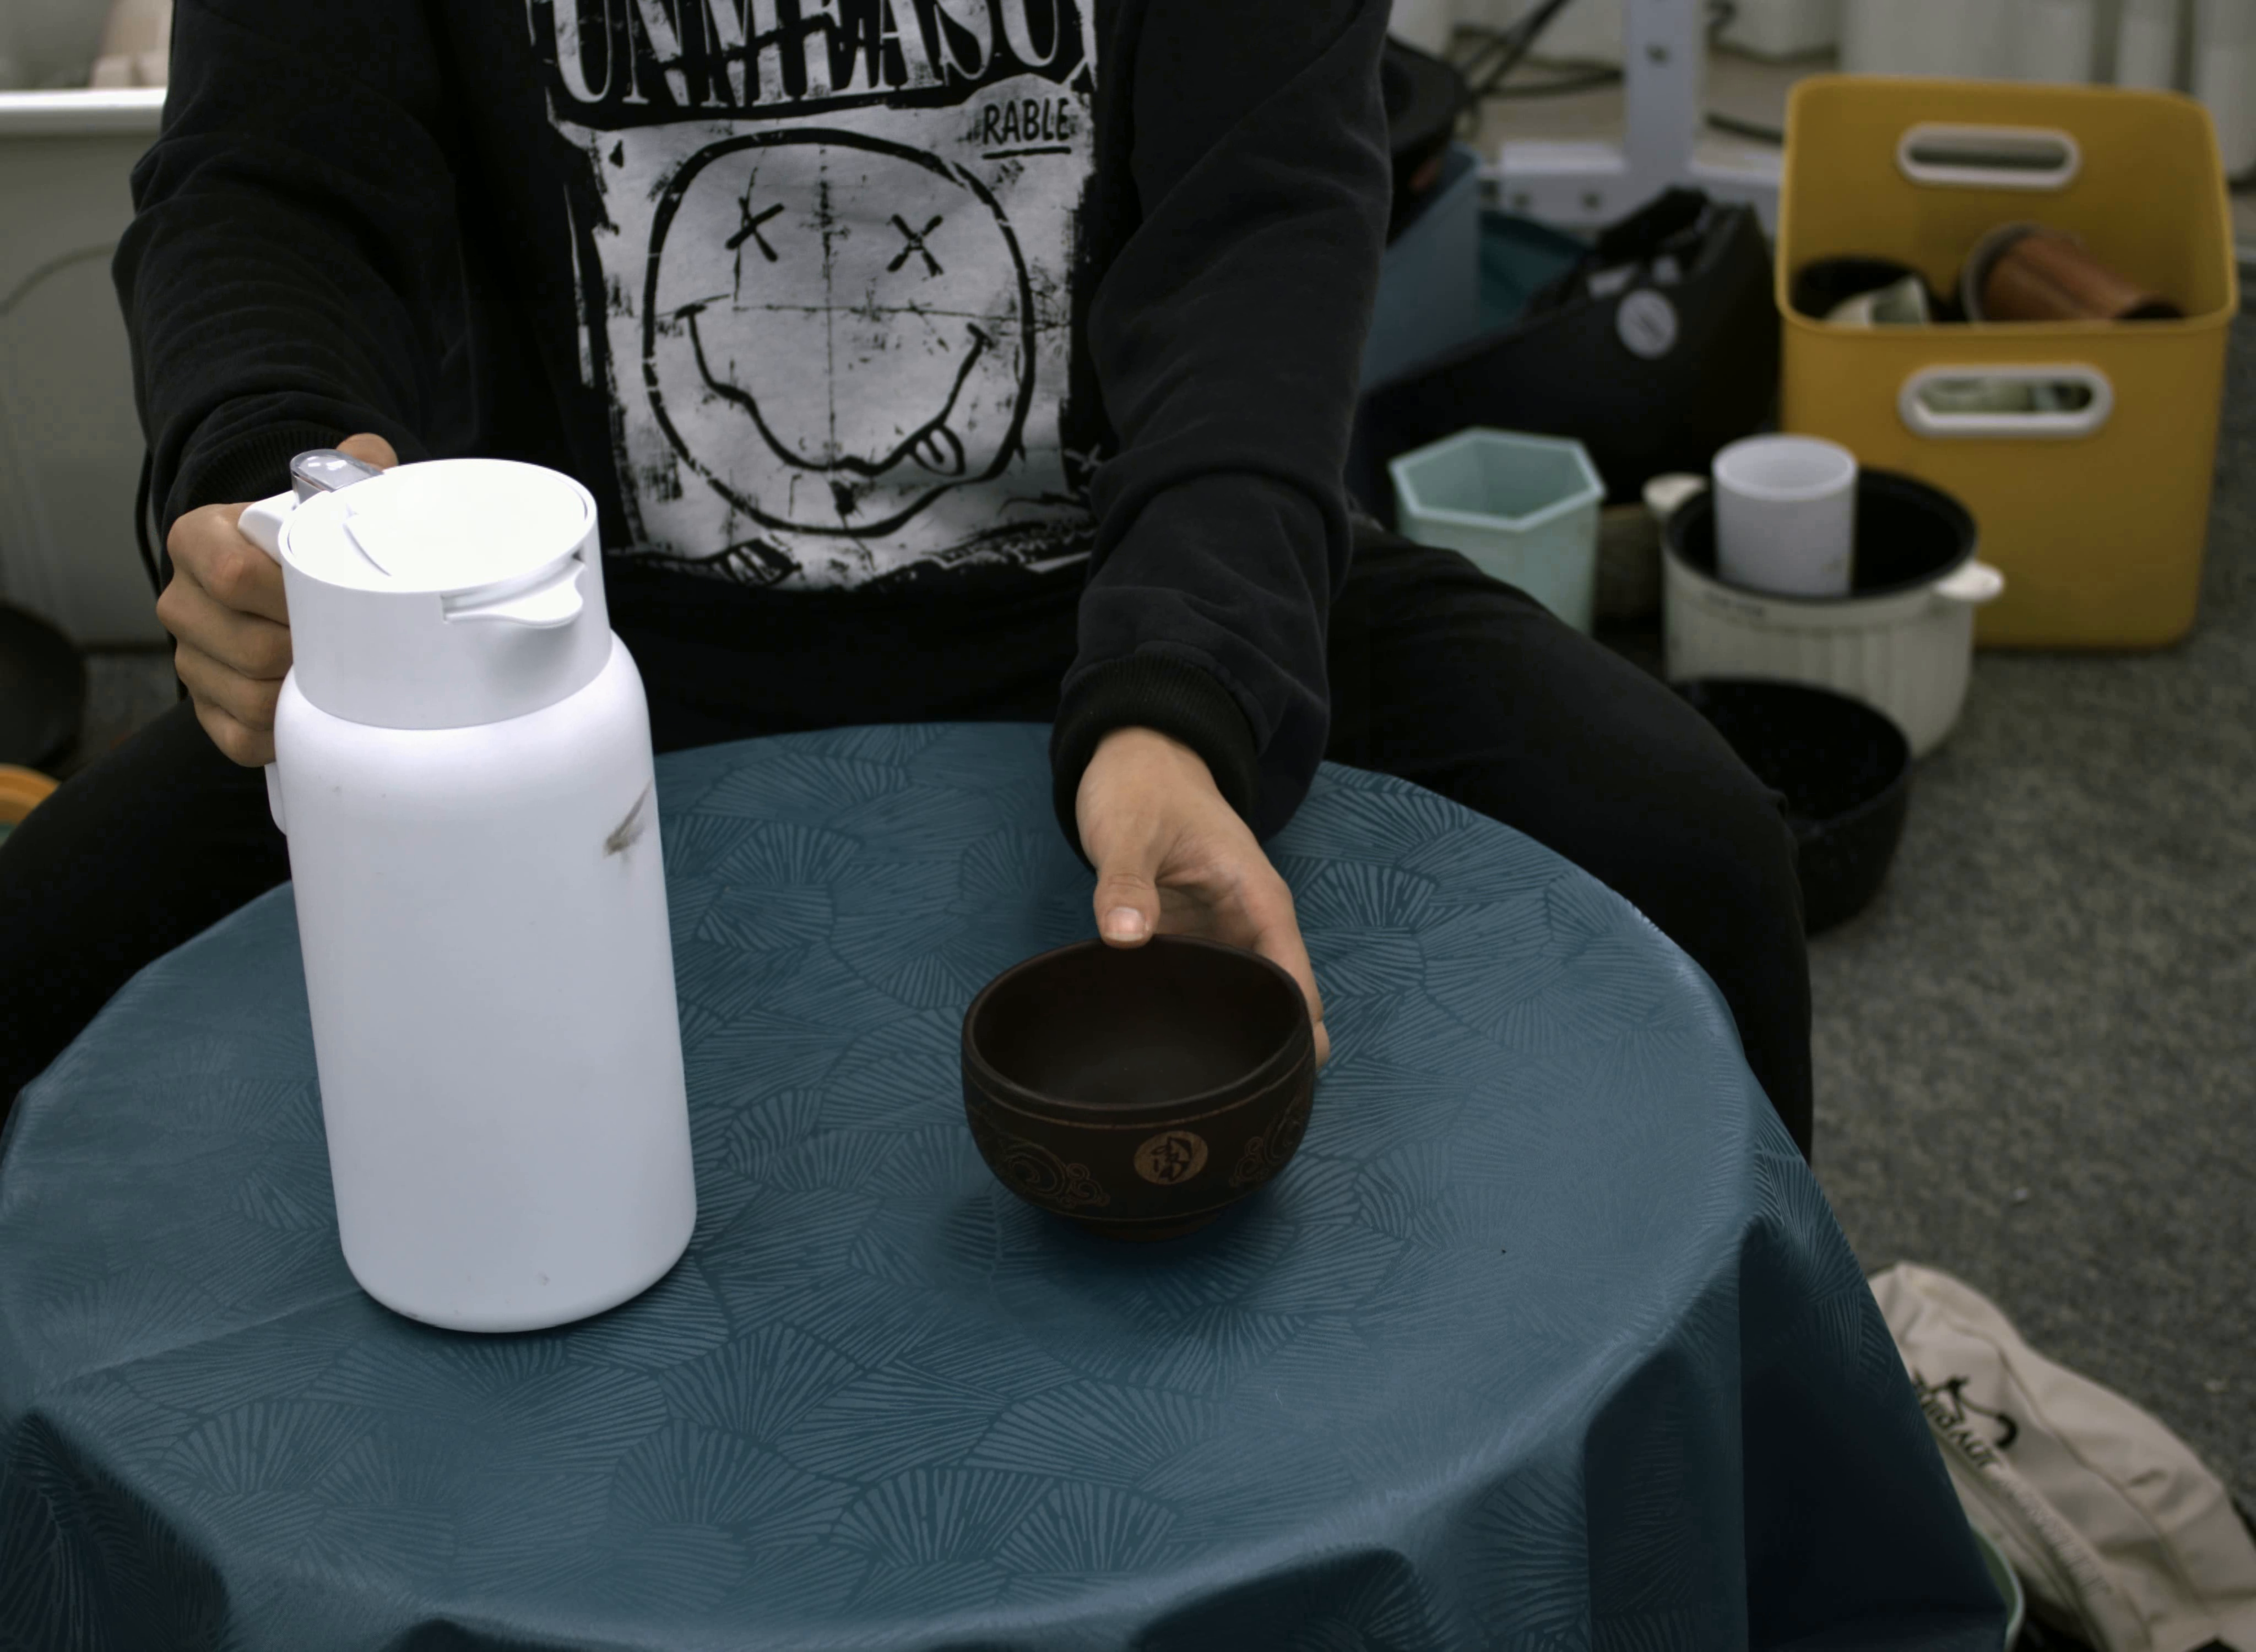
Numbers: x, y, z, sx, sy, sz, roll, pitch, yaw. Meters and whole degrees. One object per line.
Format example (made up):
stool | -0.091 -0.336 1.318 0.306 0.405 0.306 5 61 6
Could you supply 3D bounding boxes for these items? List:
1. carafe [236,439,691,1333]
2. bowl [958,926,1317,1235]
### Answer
carafe | -0.218 0.017 1.797 0.125 0.266 0.173 -25 34 -35
bowl | 0.004 0.090 1.839 0.117 0.069 0.120 -3 27 2
